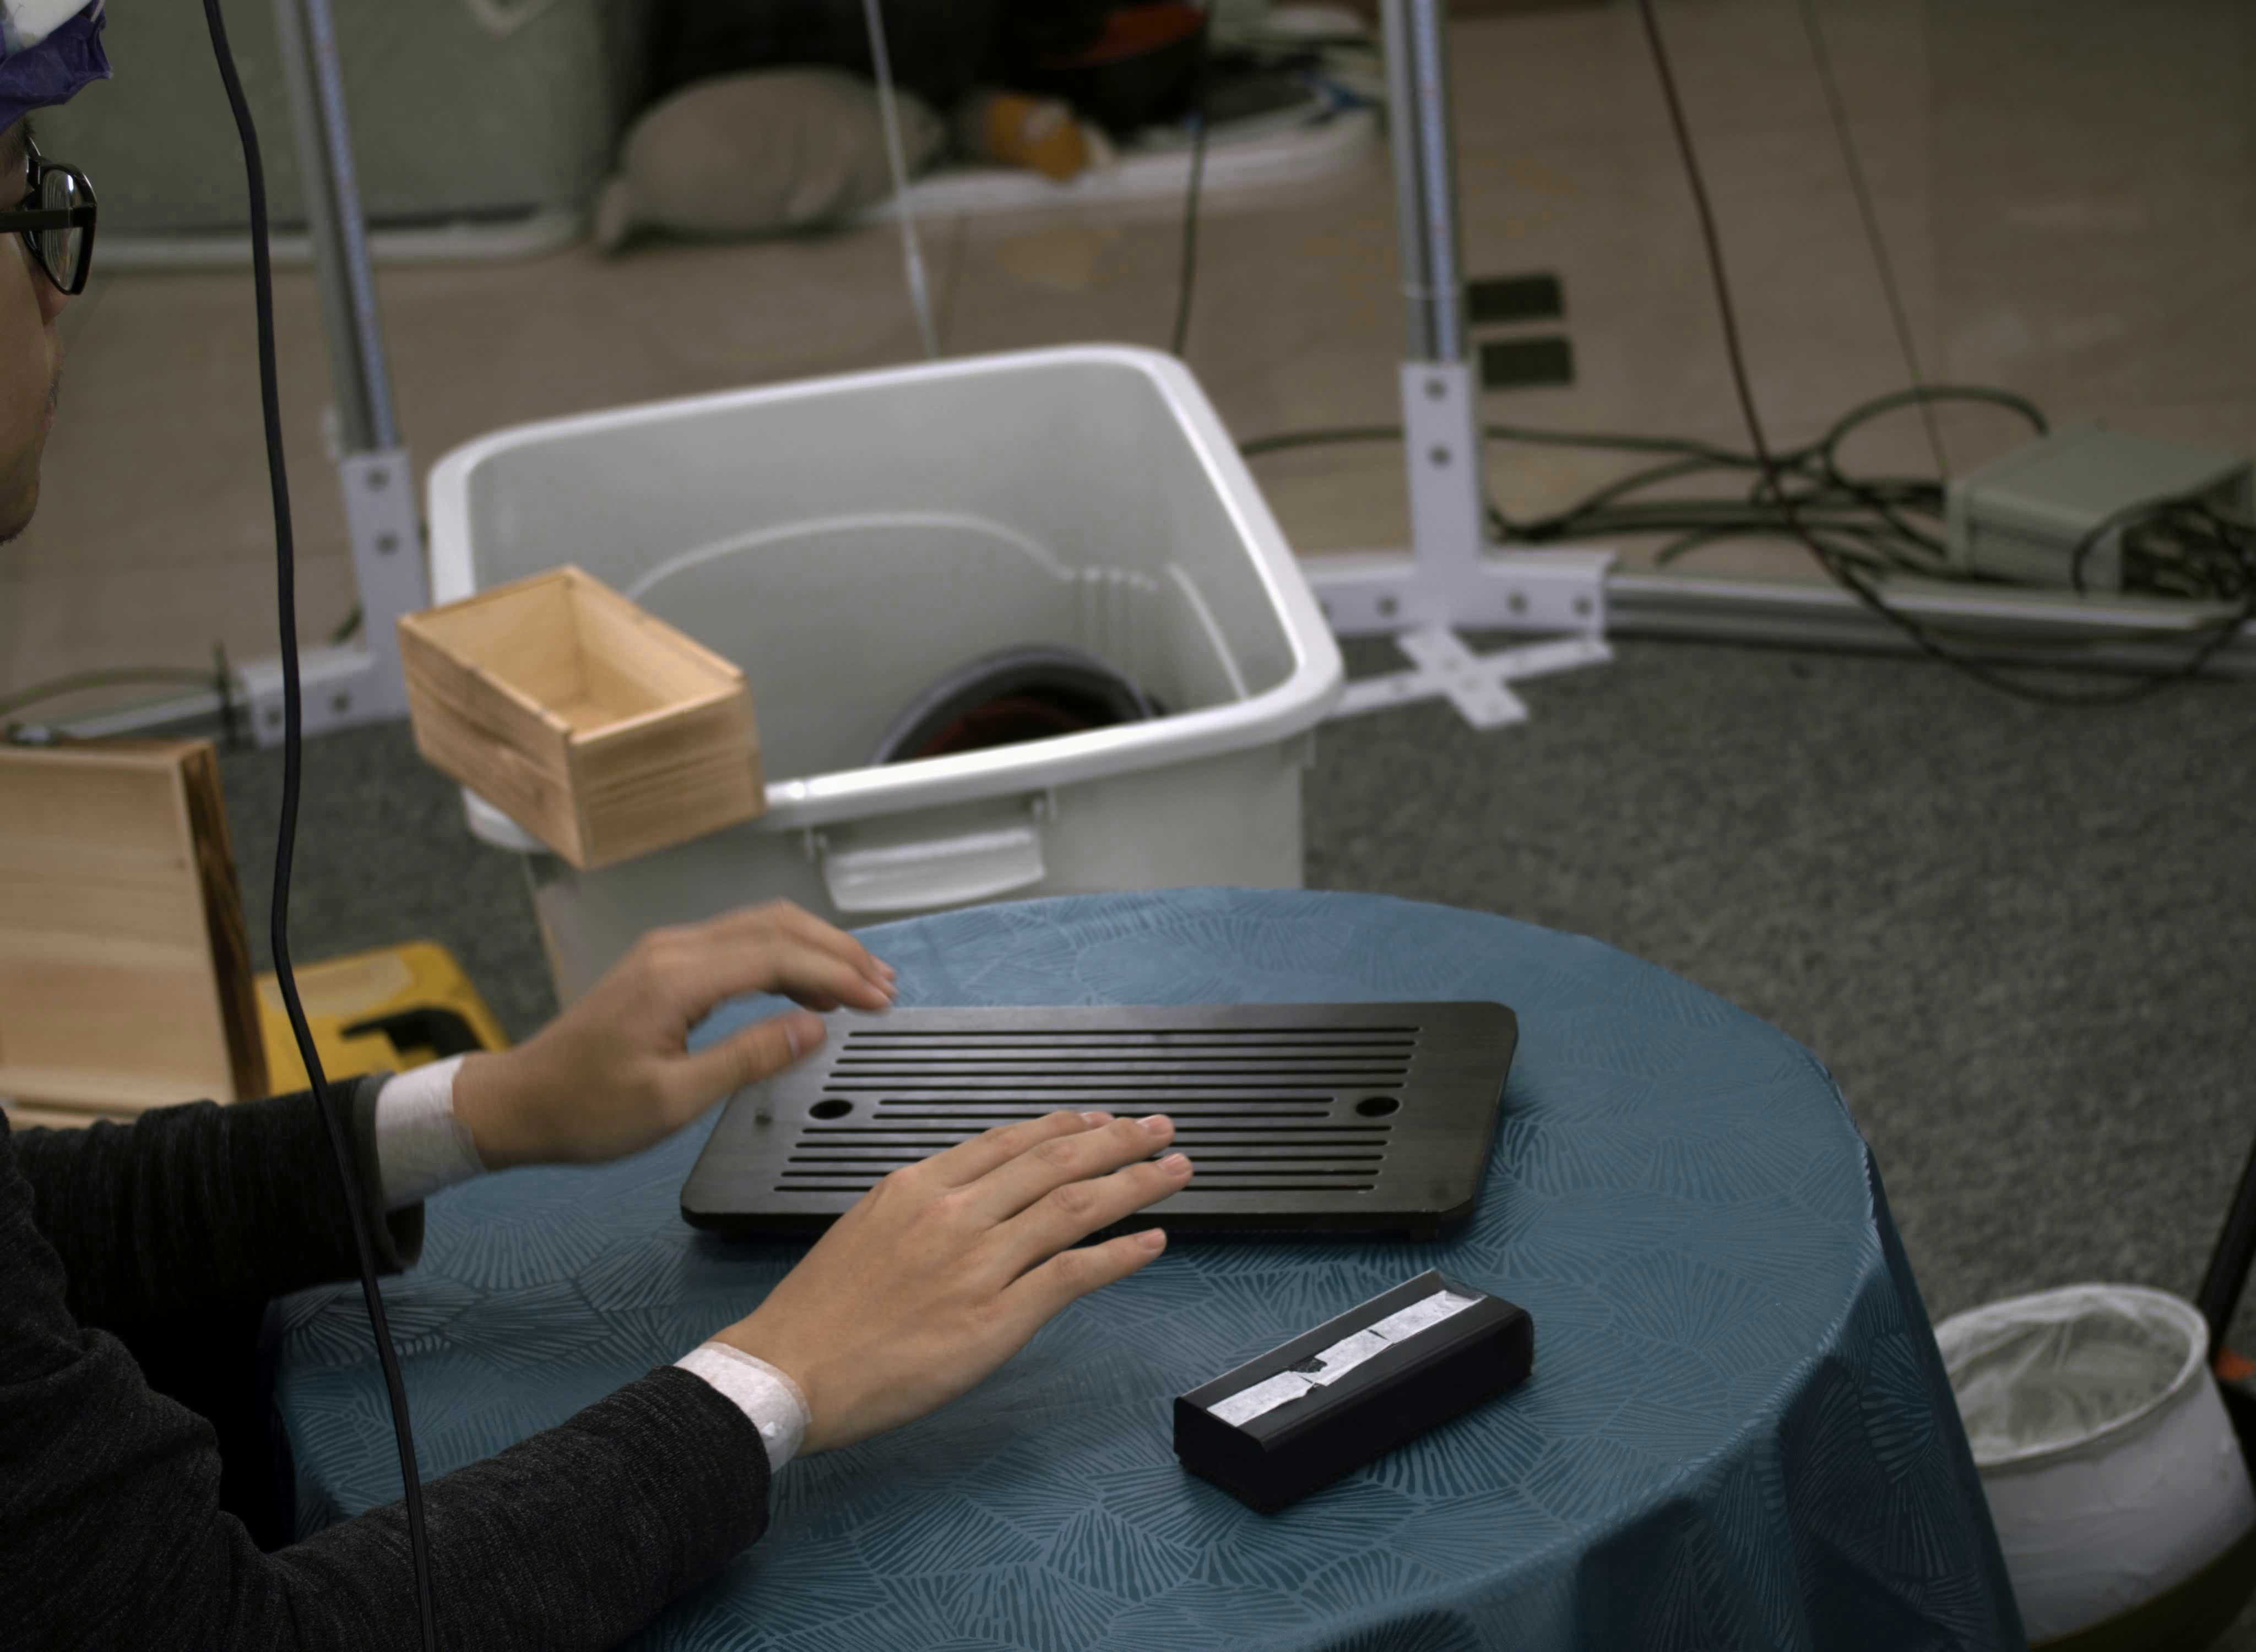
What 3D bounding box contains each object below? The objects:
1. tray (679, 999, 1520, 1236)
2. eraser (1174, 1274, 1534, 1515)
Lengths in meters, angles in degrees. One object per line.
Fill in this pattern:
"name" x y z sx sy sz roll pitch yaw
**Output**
"tray" -0.008 0.113 2.185 0.305 0.019 0.167 -1 26 12
"eraser" 0.080 0.196 1.973 0.124 0.031 0.053 -25 28 -32
